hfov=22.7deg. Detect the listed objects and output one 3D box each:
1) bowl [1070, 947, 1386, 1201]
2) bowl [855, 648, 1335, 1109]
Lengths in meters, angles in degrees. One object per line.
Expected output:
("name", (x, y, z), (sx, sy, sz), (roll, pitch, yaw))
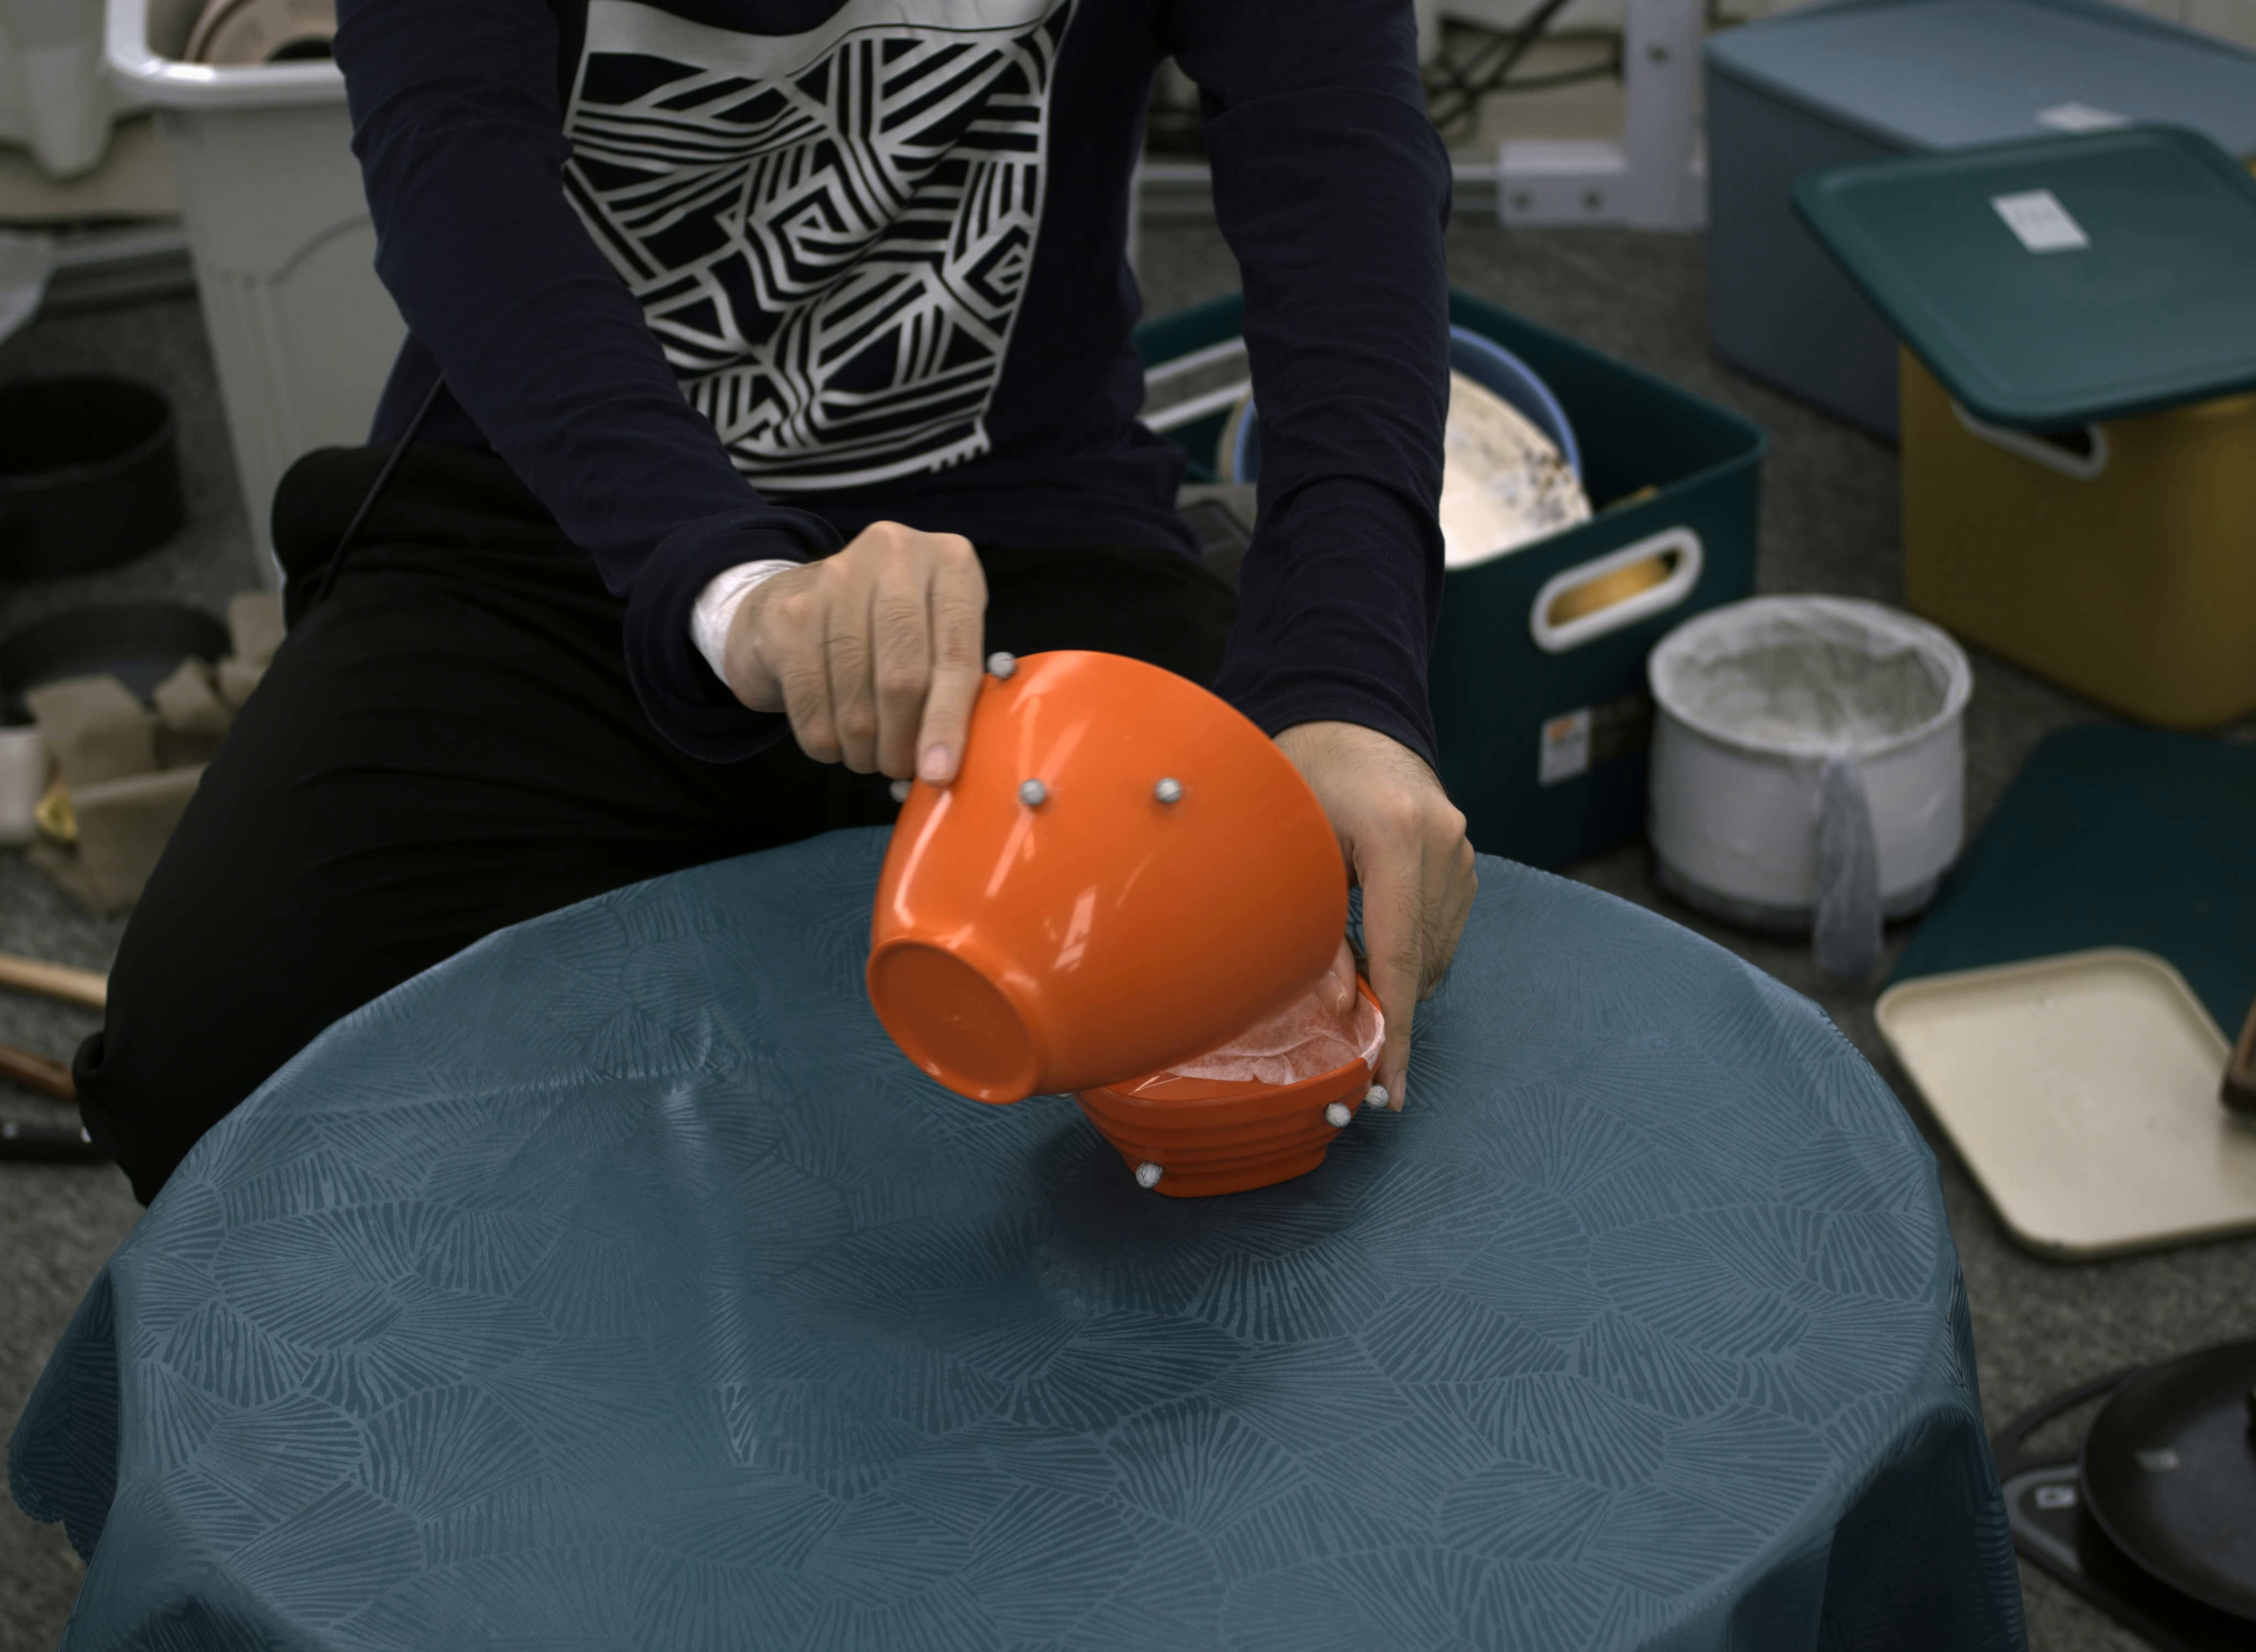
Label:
("bowl", (0.030, 0.085, 1.877), (0.118, 0.051, 0.120), (-3, 26, 2))
("bowl", (-0.023, 0.030, 1.771), (0.147, 0.146, 0.106), (15, 45, 31))
